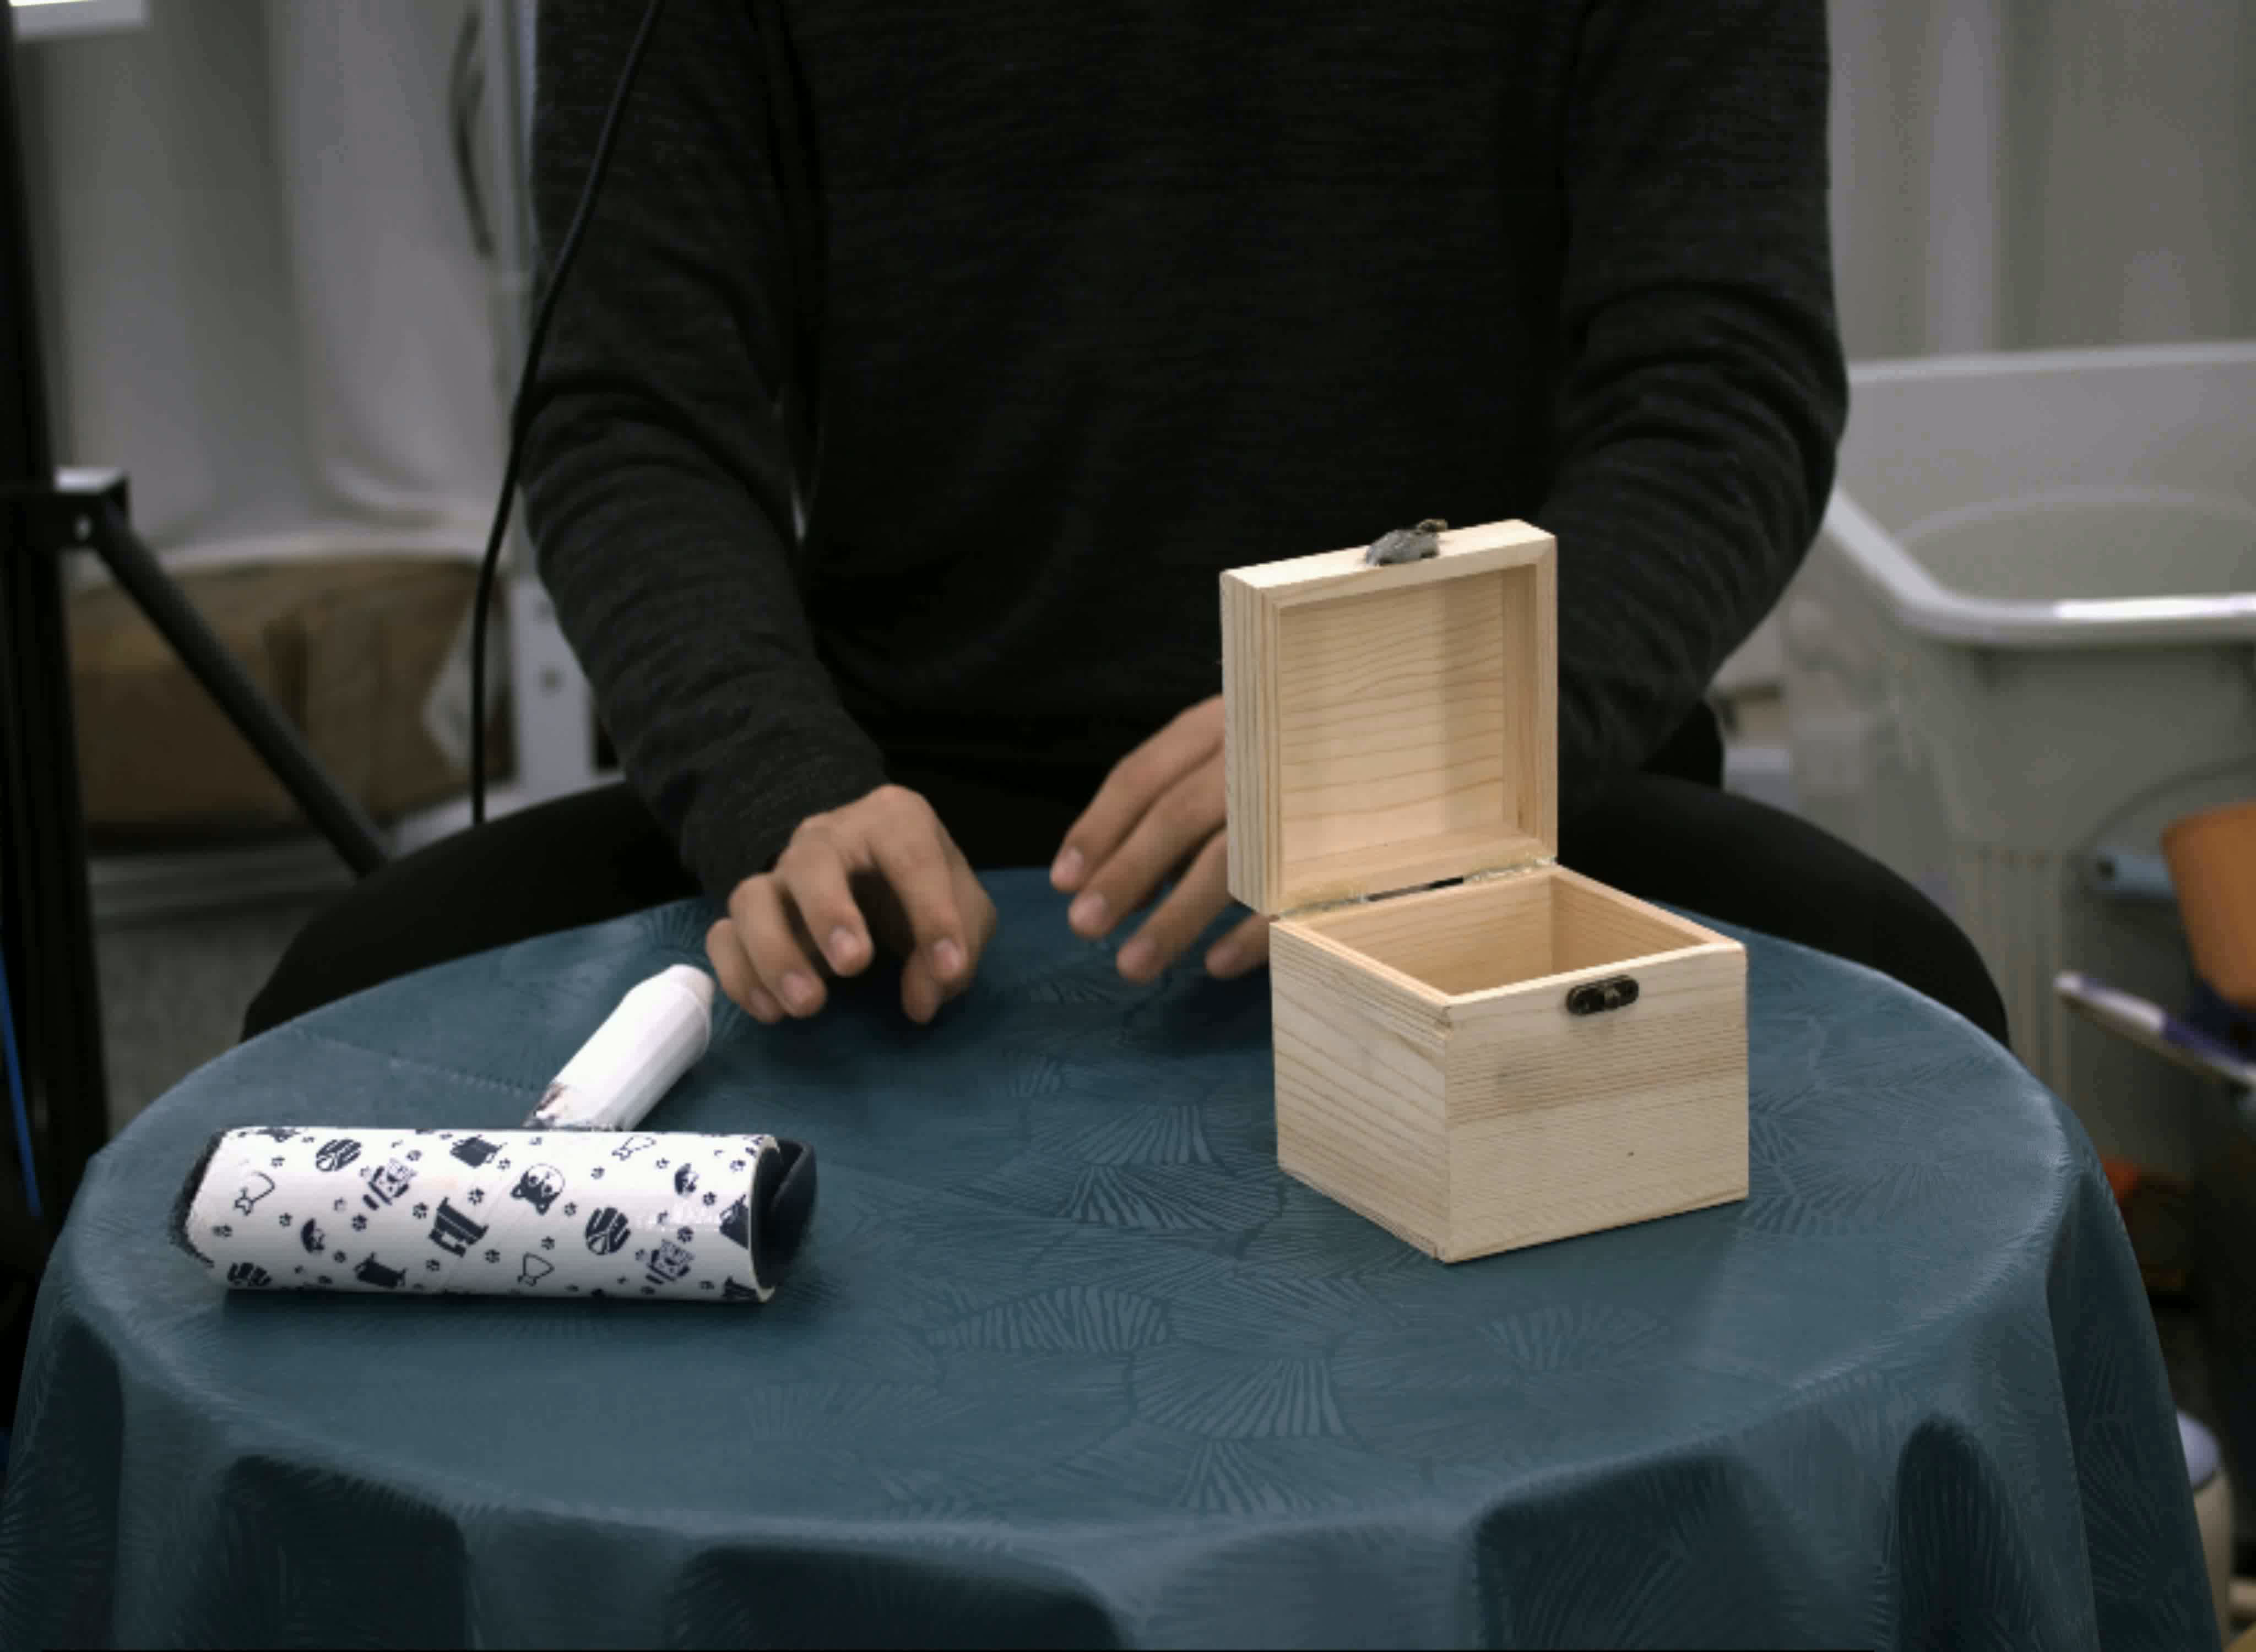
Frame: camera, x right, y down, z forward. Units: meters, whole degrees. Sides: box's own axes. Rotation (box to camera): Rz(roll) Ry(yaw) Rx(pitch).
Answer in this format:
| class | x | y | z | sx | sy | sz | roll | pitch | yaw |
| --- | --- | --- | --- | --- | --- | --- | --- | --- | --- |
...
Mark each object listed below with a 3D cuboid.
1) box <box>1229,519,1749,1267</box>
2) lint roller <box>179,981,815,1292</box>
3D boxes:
| class | x | y | z | sx | sy | sz | roll | pitch | yaw |
| --- | --- | --- | --- | --- | --- | --- | --- | --- | --- |
| box | 0.104 | 0.016 | 1.531 | 0.100 | 0.184 | 0.136 | -9 | 16 | -25 |
| lint roller | -0.164 | 0.082 | 1.597 | 0.177 | 0.050 | 0.246 | -1 | 15 | 10 |
